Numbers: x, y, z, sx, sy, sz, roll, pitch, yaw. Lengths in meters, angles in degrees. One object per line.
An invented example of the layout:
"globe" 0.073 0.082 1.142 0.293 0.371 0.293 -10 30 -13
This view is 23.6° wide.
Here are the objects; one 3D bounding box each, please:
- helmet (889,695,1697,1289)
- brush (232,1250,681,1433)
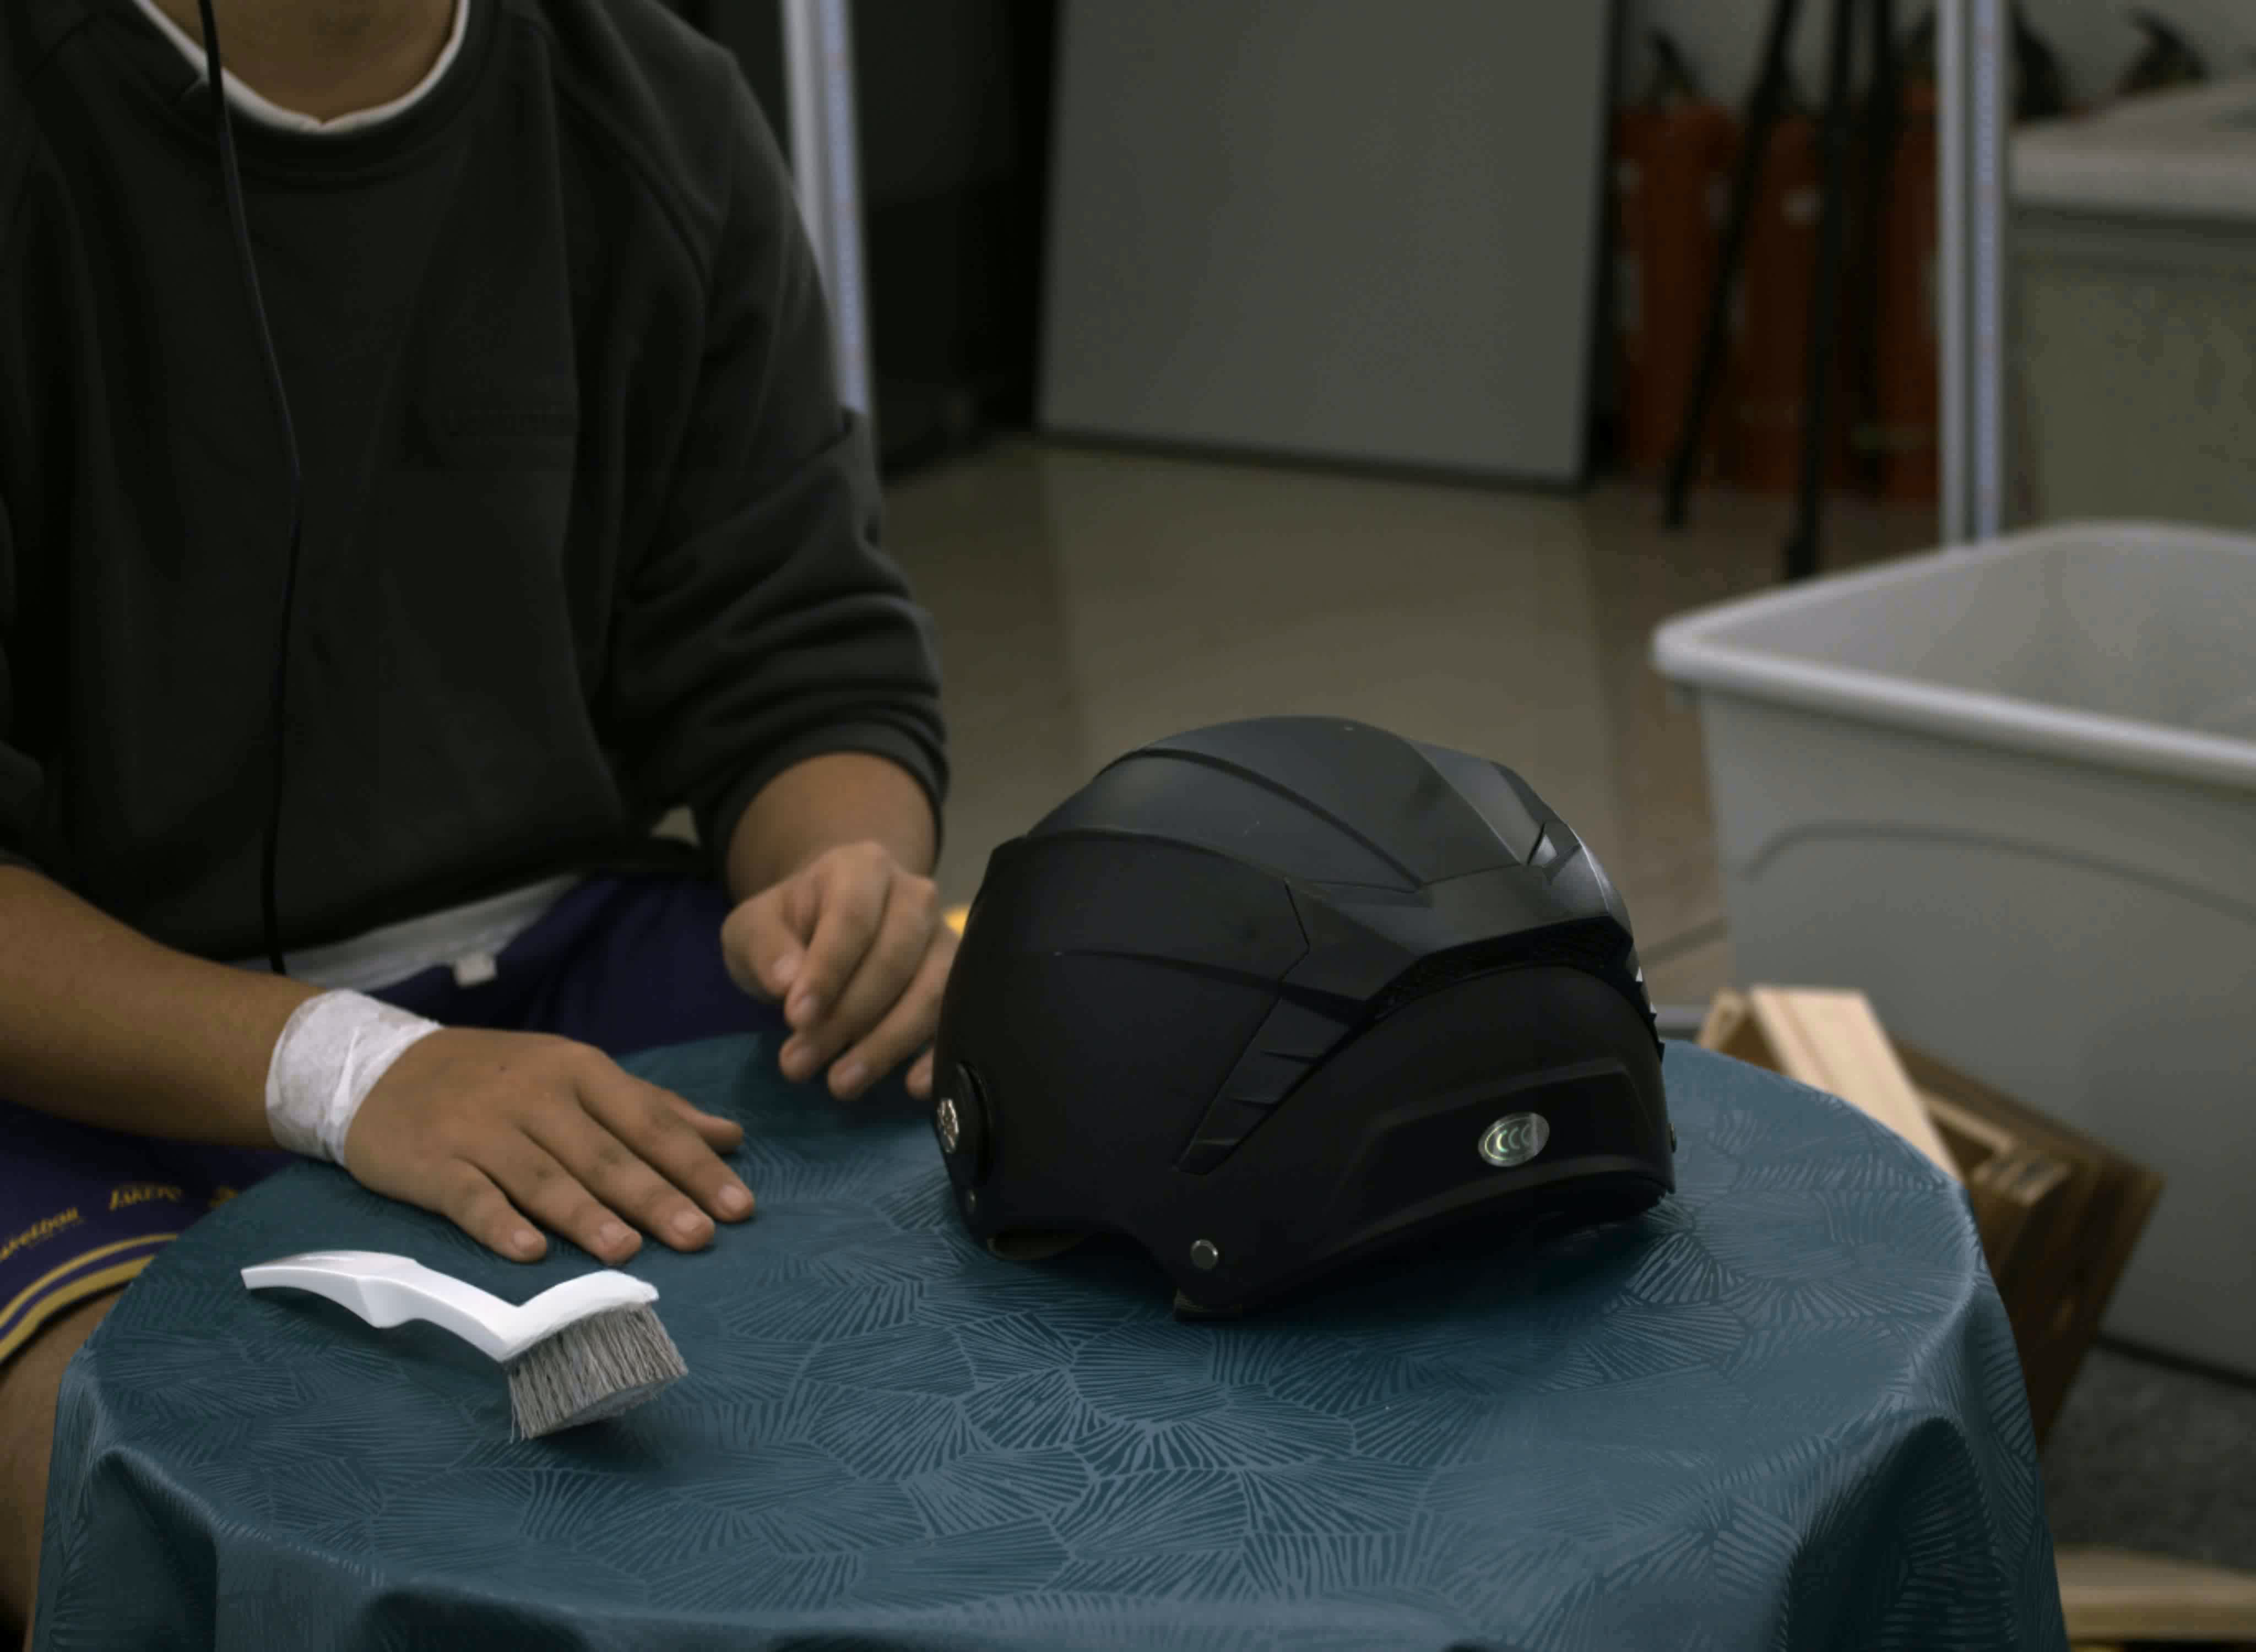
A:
"helmet" 0.055 0.045 1.726 0.241 0.174 0.279 -10 18 -26
"brush" -0.206 0.156 1.636 0.033 0.051 0.246 -14 3 -34
